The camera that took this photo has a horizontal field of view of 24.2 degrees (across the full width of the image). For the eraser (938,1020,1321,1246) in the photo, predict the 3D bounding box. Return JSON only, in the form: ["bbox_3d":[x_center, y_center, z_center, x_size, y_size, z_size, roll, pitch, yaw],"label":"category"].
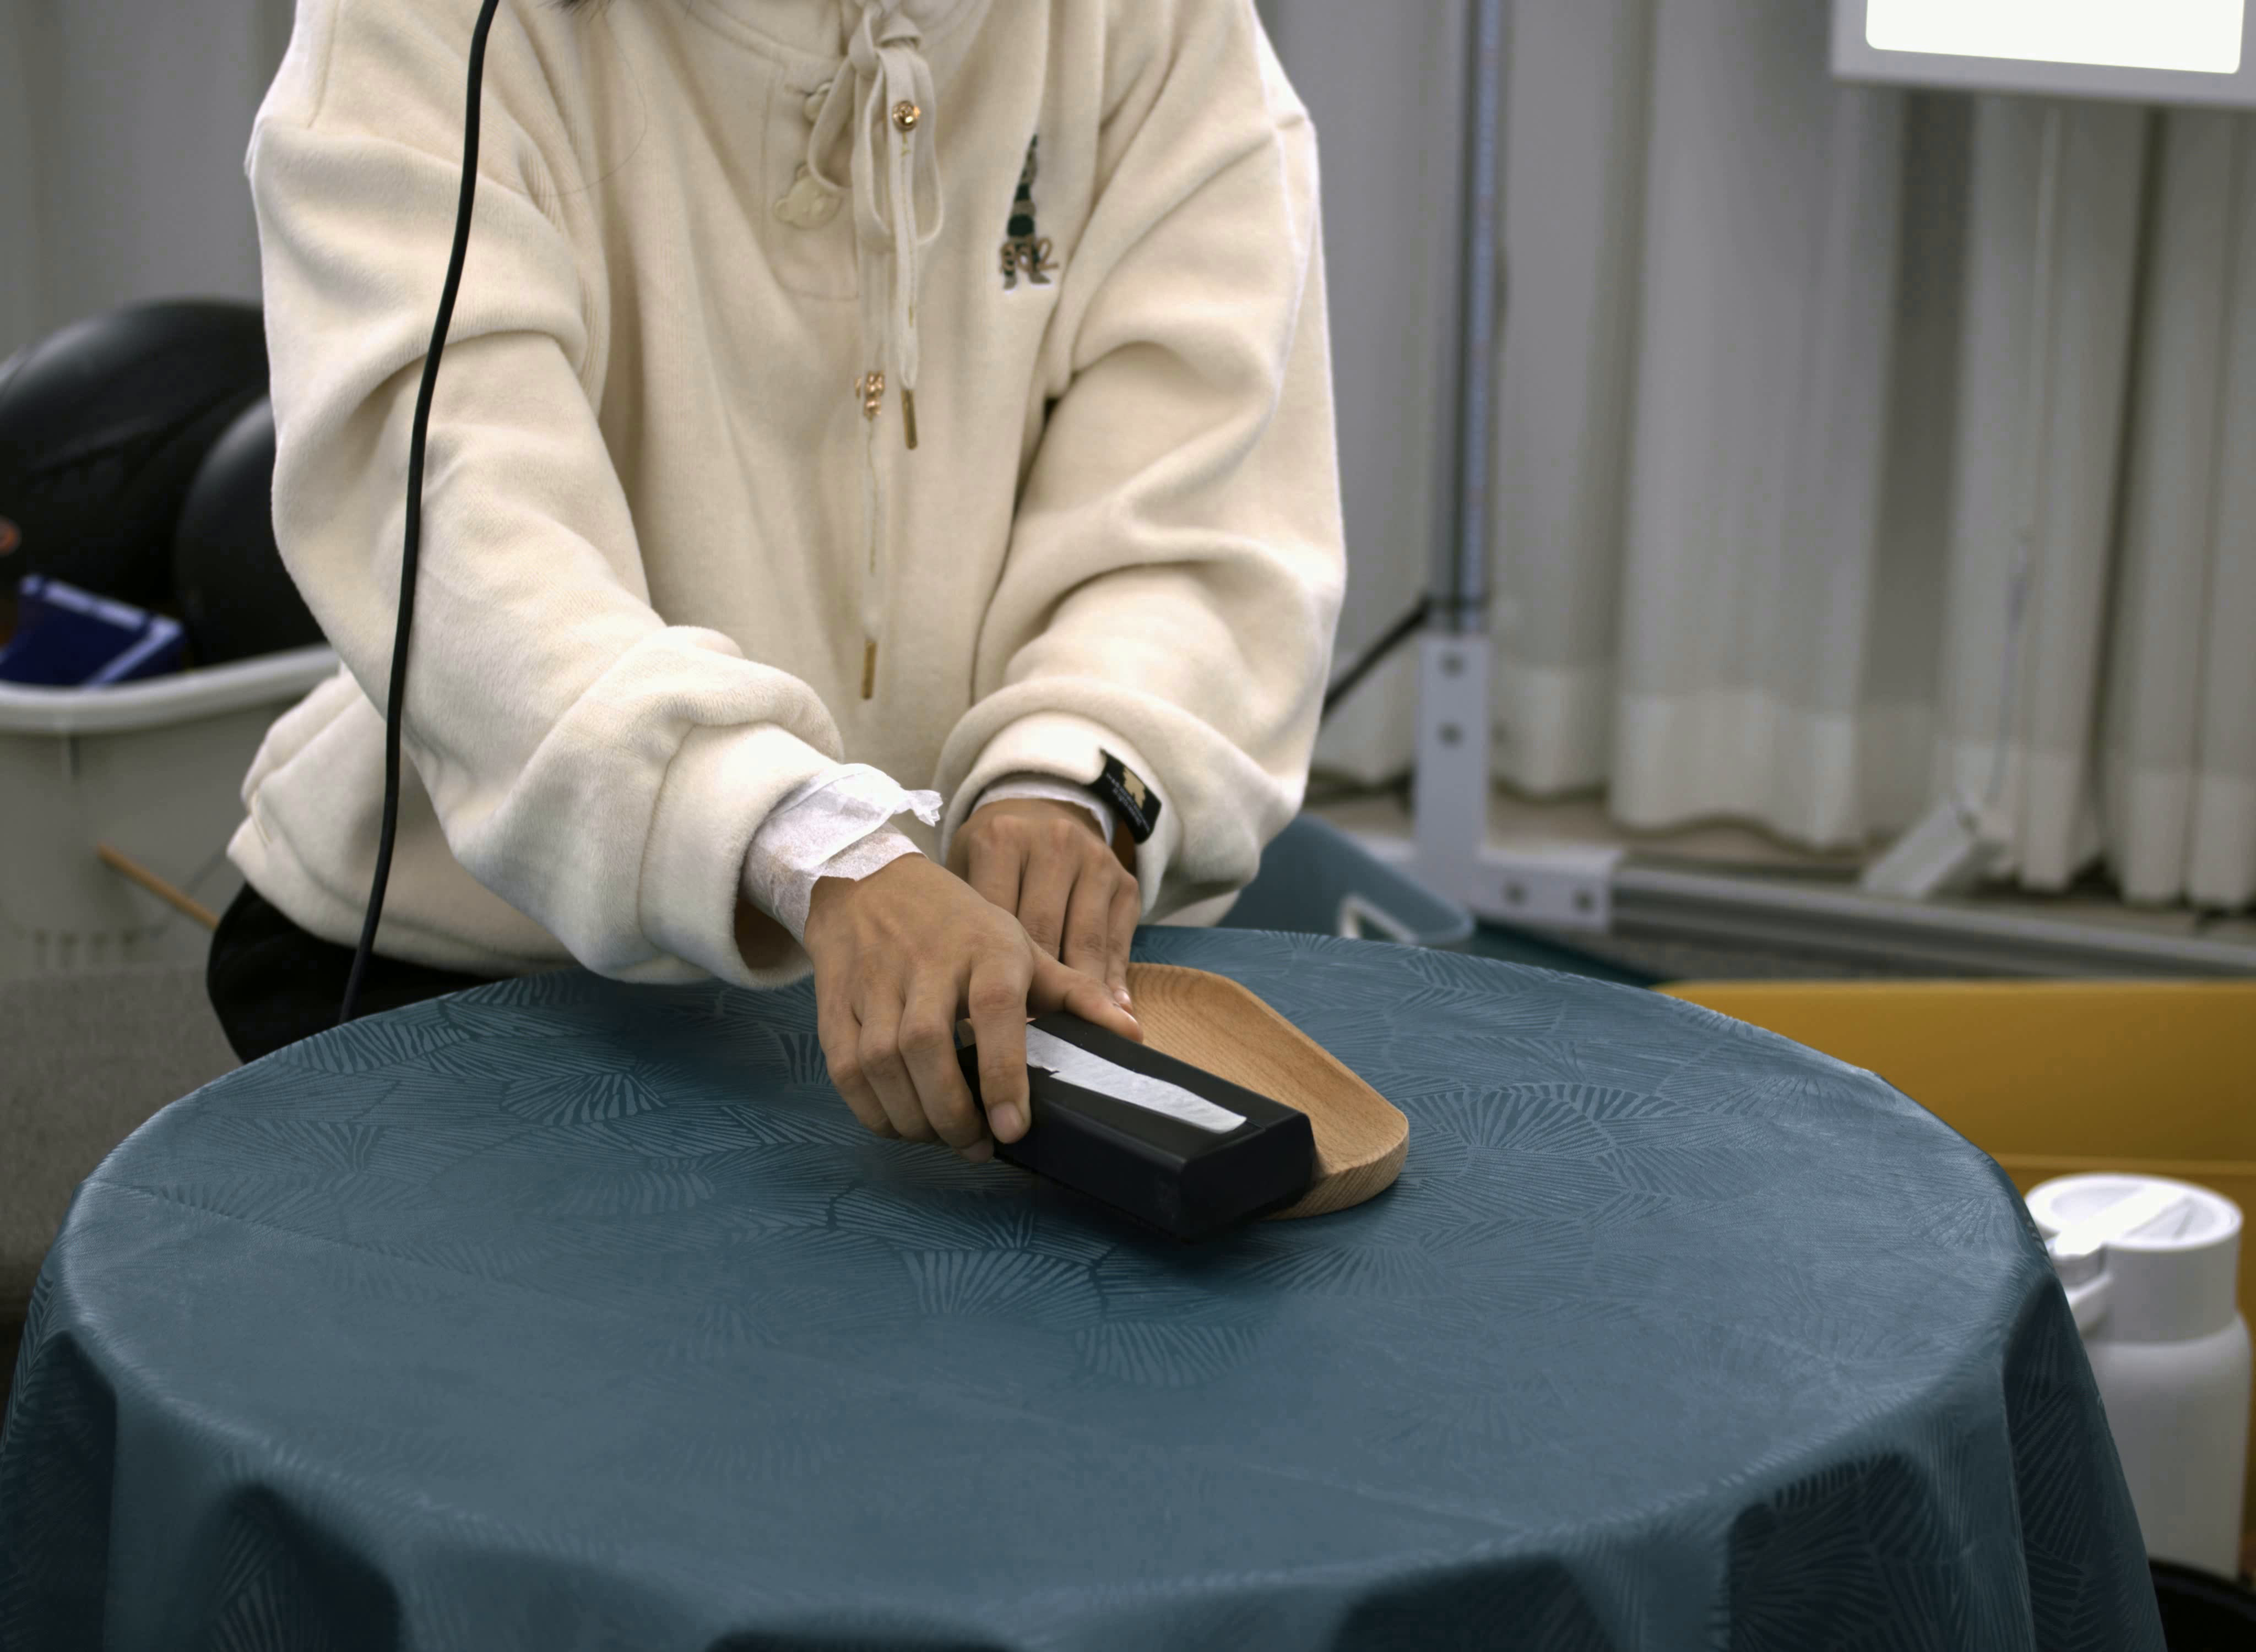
[{"bbox_3d":[0.000,0.092,1.592,0.054,0.031,0.124,-15,23,-36],"label":"eraser"}]

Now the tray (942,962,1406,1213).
[{"bbox_3d":[0.013,0.083,1.699,0.102,0.020,0.228,-5,15,-21],"label":"tray"}]
